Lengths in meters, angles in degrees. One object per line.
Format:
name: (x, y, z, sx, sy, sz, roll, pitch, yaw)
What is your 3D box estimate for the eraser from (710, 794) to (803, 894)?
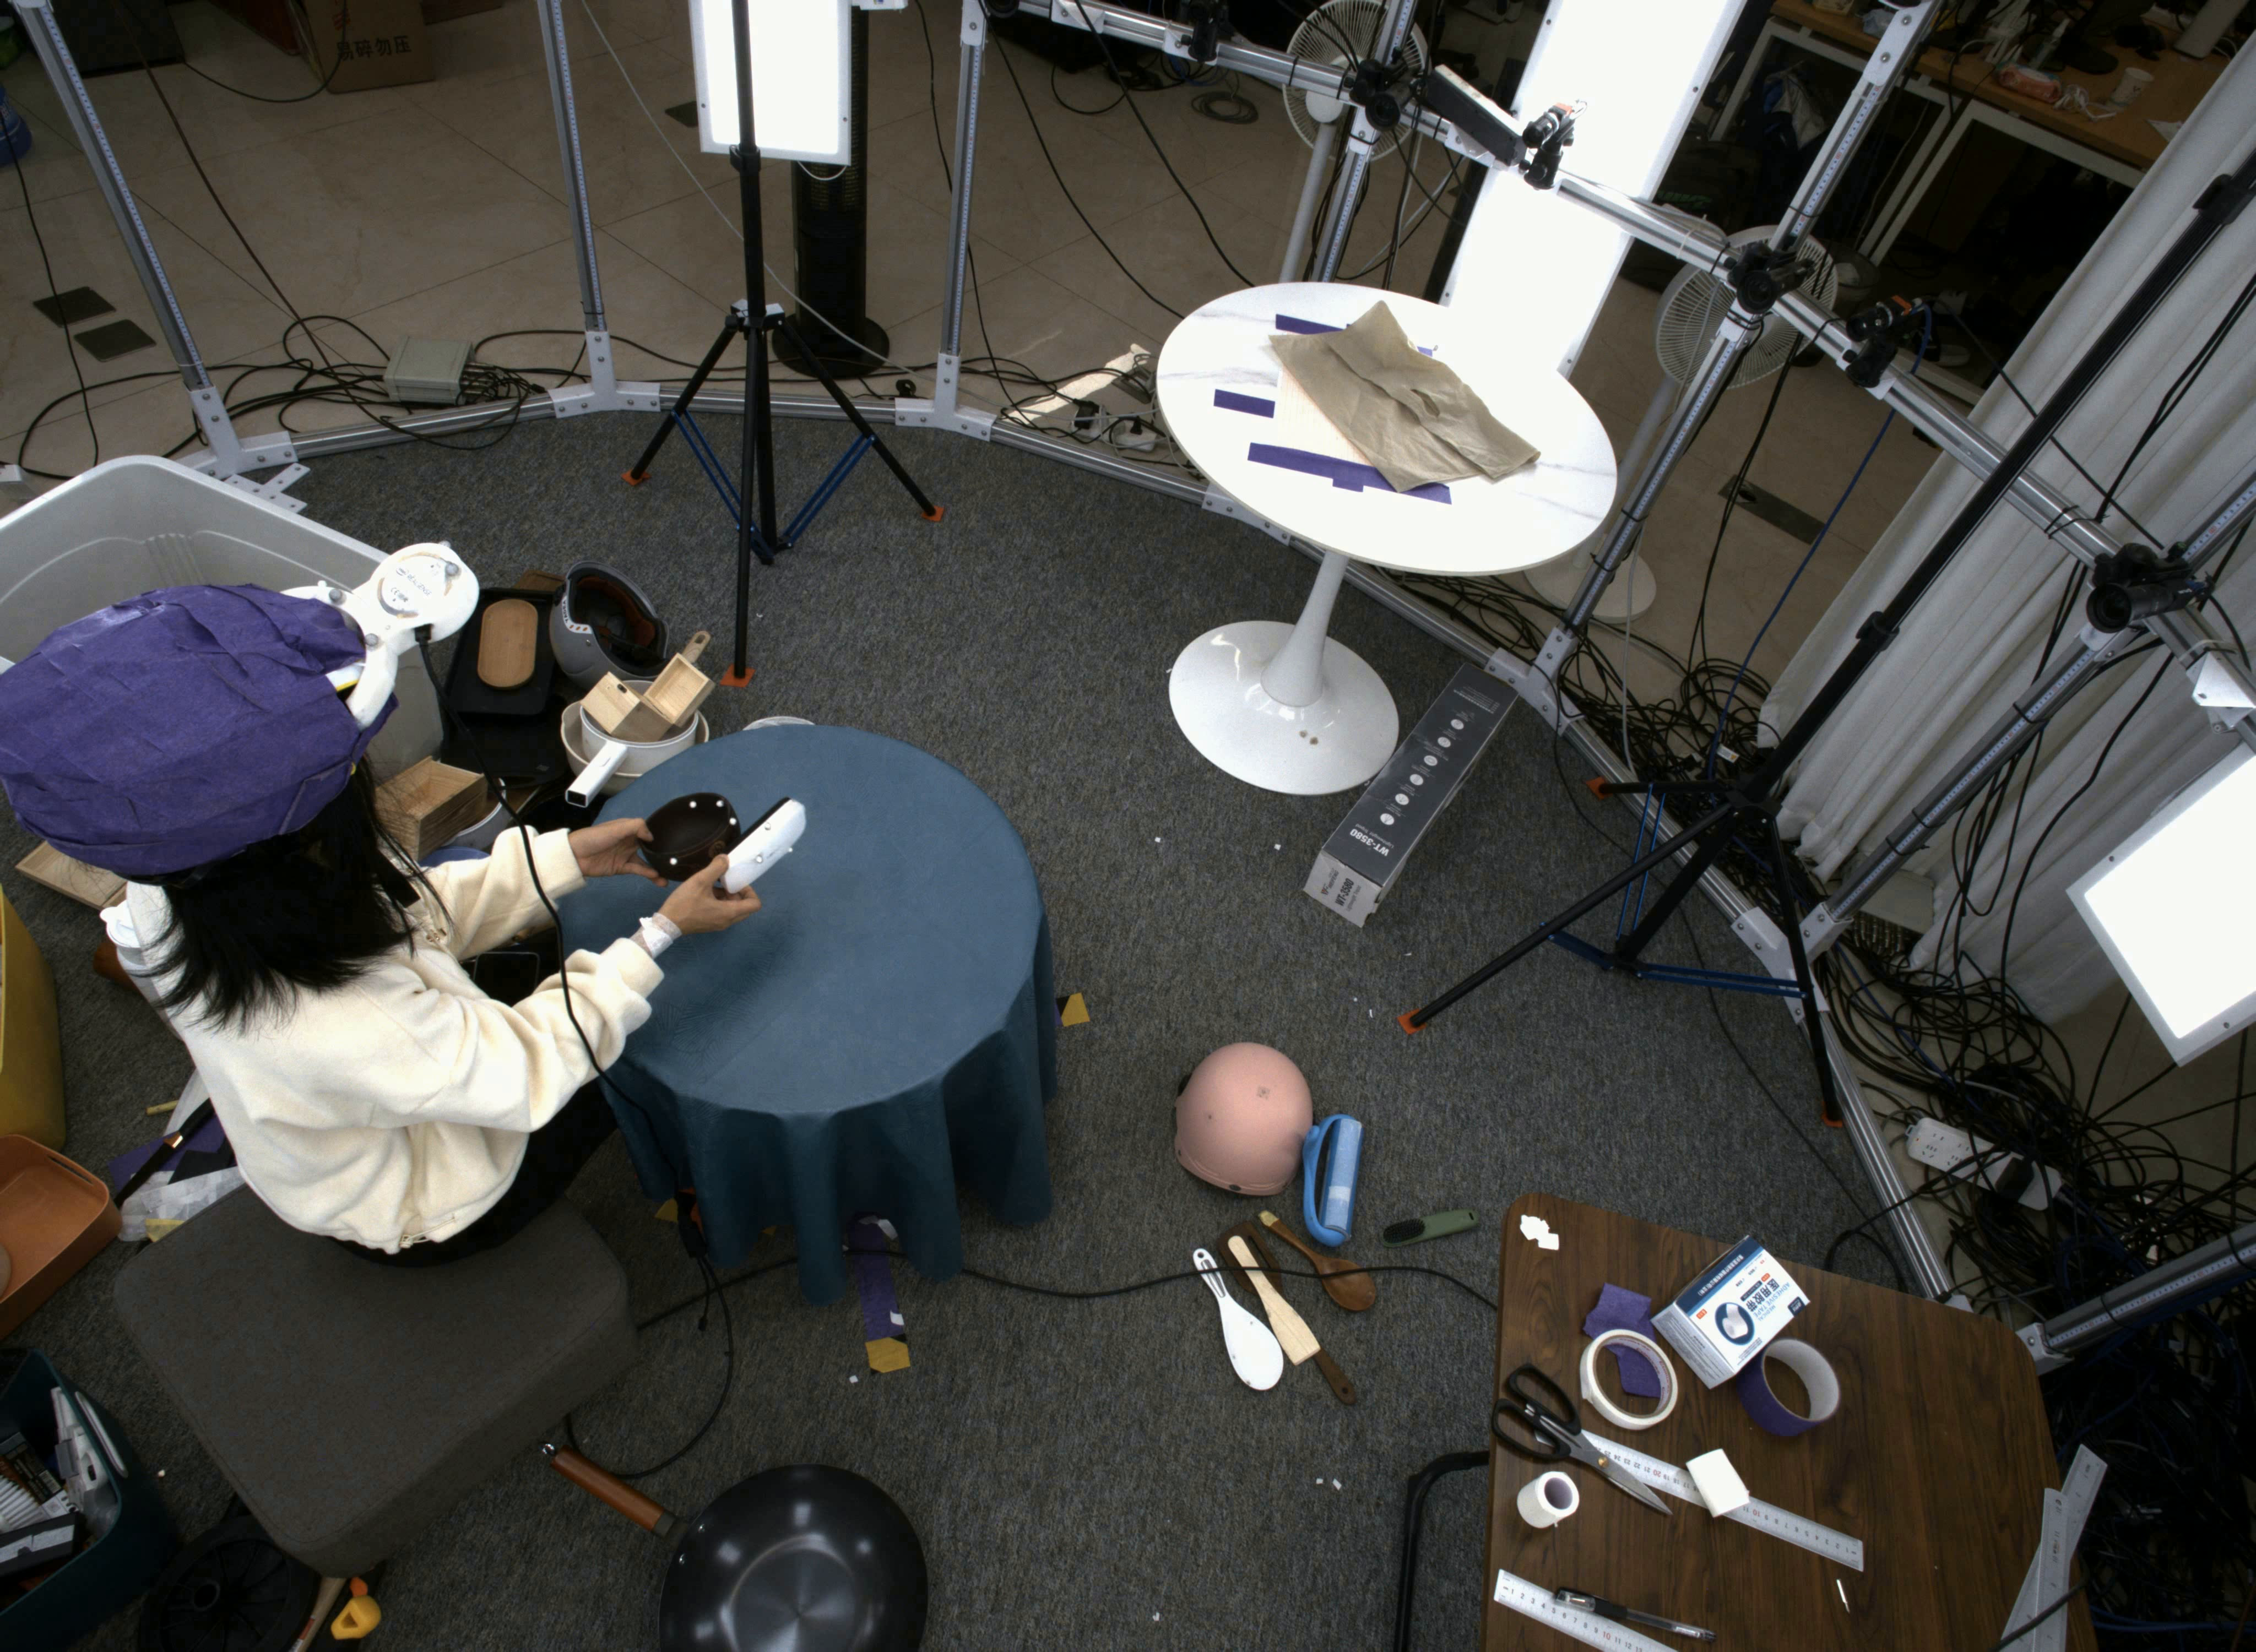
eraser: (-0.434, 0.019, 1.523, 0.034, 0.065, 0.131, 33, 57, 14)

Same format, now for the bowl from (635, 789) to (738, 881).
bowl: (-0.516, 0.018, 1.524, 0.116, 0.072, 0.115, -9, 38, 9)
